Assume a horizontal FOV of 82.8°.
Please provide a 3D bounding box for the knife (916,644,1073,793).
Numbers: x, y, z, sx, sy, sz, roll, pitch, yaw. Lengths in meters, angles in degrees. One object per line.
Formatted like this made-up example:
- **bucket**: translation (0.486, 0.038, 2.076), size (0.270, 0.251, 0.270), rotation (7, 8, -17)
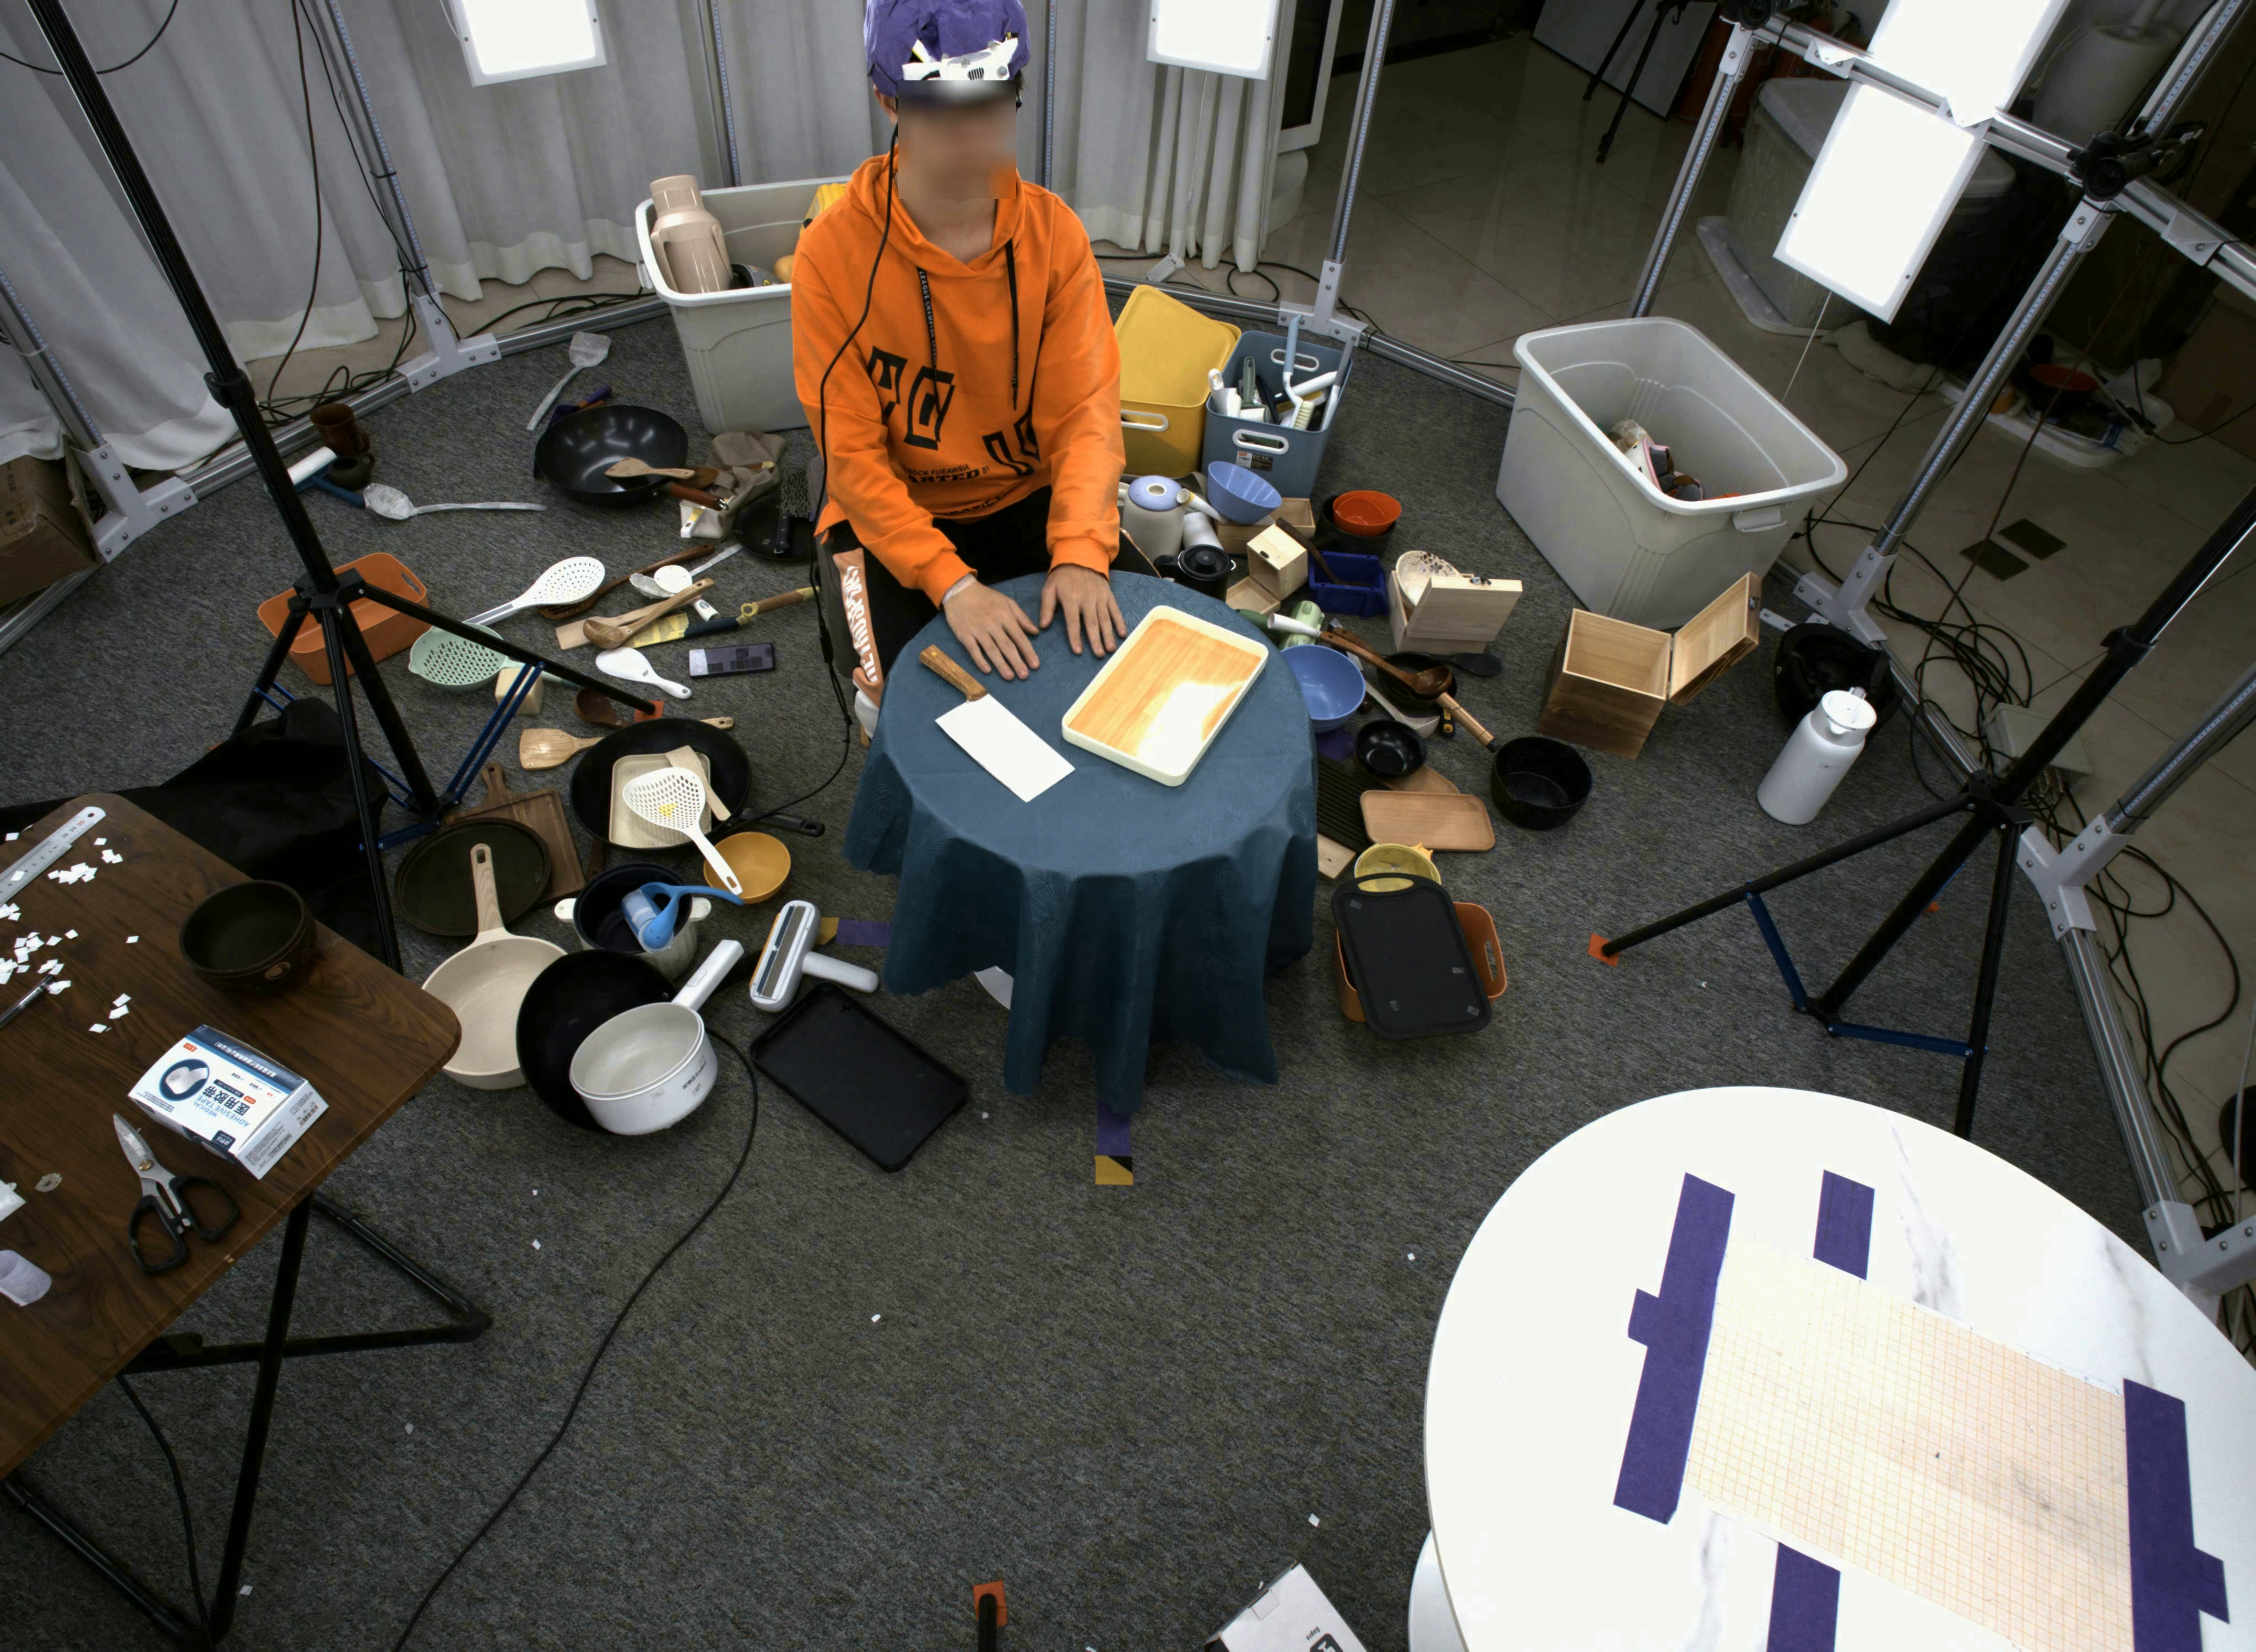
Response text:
- **knife**: translation (-0.206, -0.147, 1.772), size (0.094, 0.020, 0.310), rotation (-35, 62, -28)

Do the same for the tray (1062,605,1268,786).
- **tray**: translation (0.056, -0.191, 1.821), size (0.193, 0.027, 0.305), rotation (24, 52, 16)
